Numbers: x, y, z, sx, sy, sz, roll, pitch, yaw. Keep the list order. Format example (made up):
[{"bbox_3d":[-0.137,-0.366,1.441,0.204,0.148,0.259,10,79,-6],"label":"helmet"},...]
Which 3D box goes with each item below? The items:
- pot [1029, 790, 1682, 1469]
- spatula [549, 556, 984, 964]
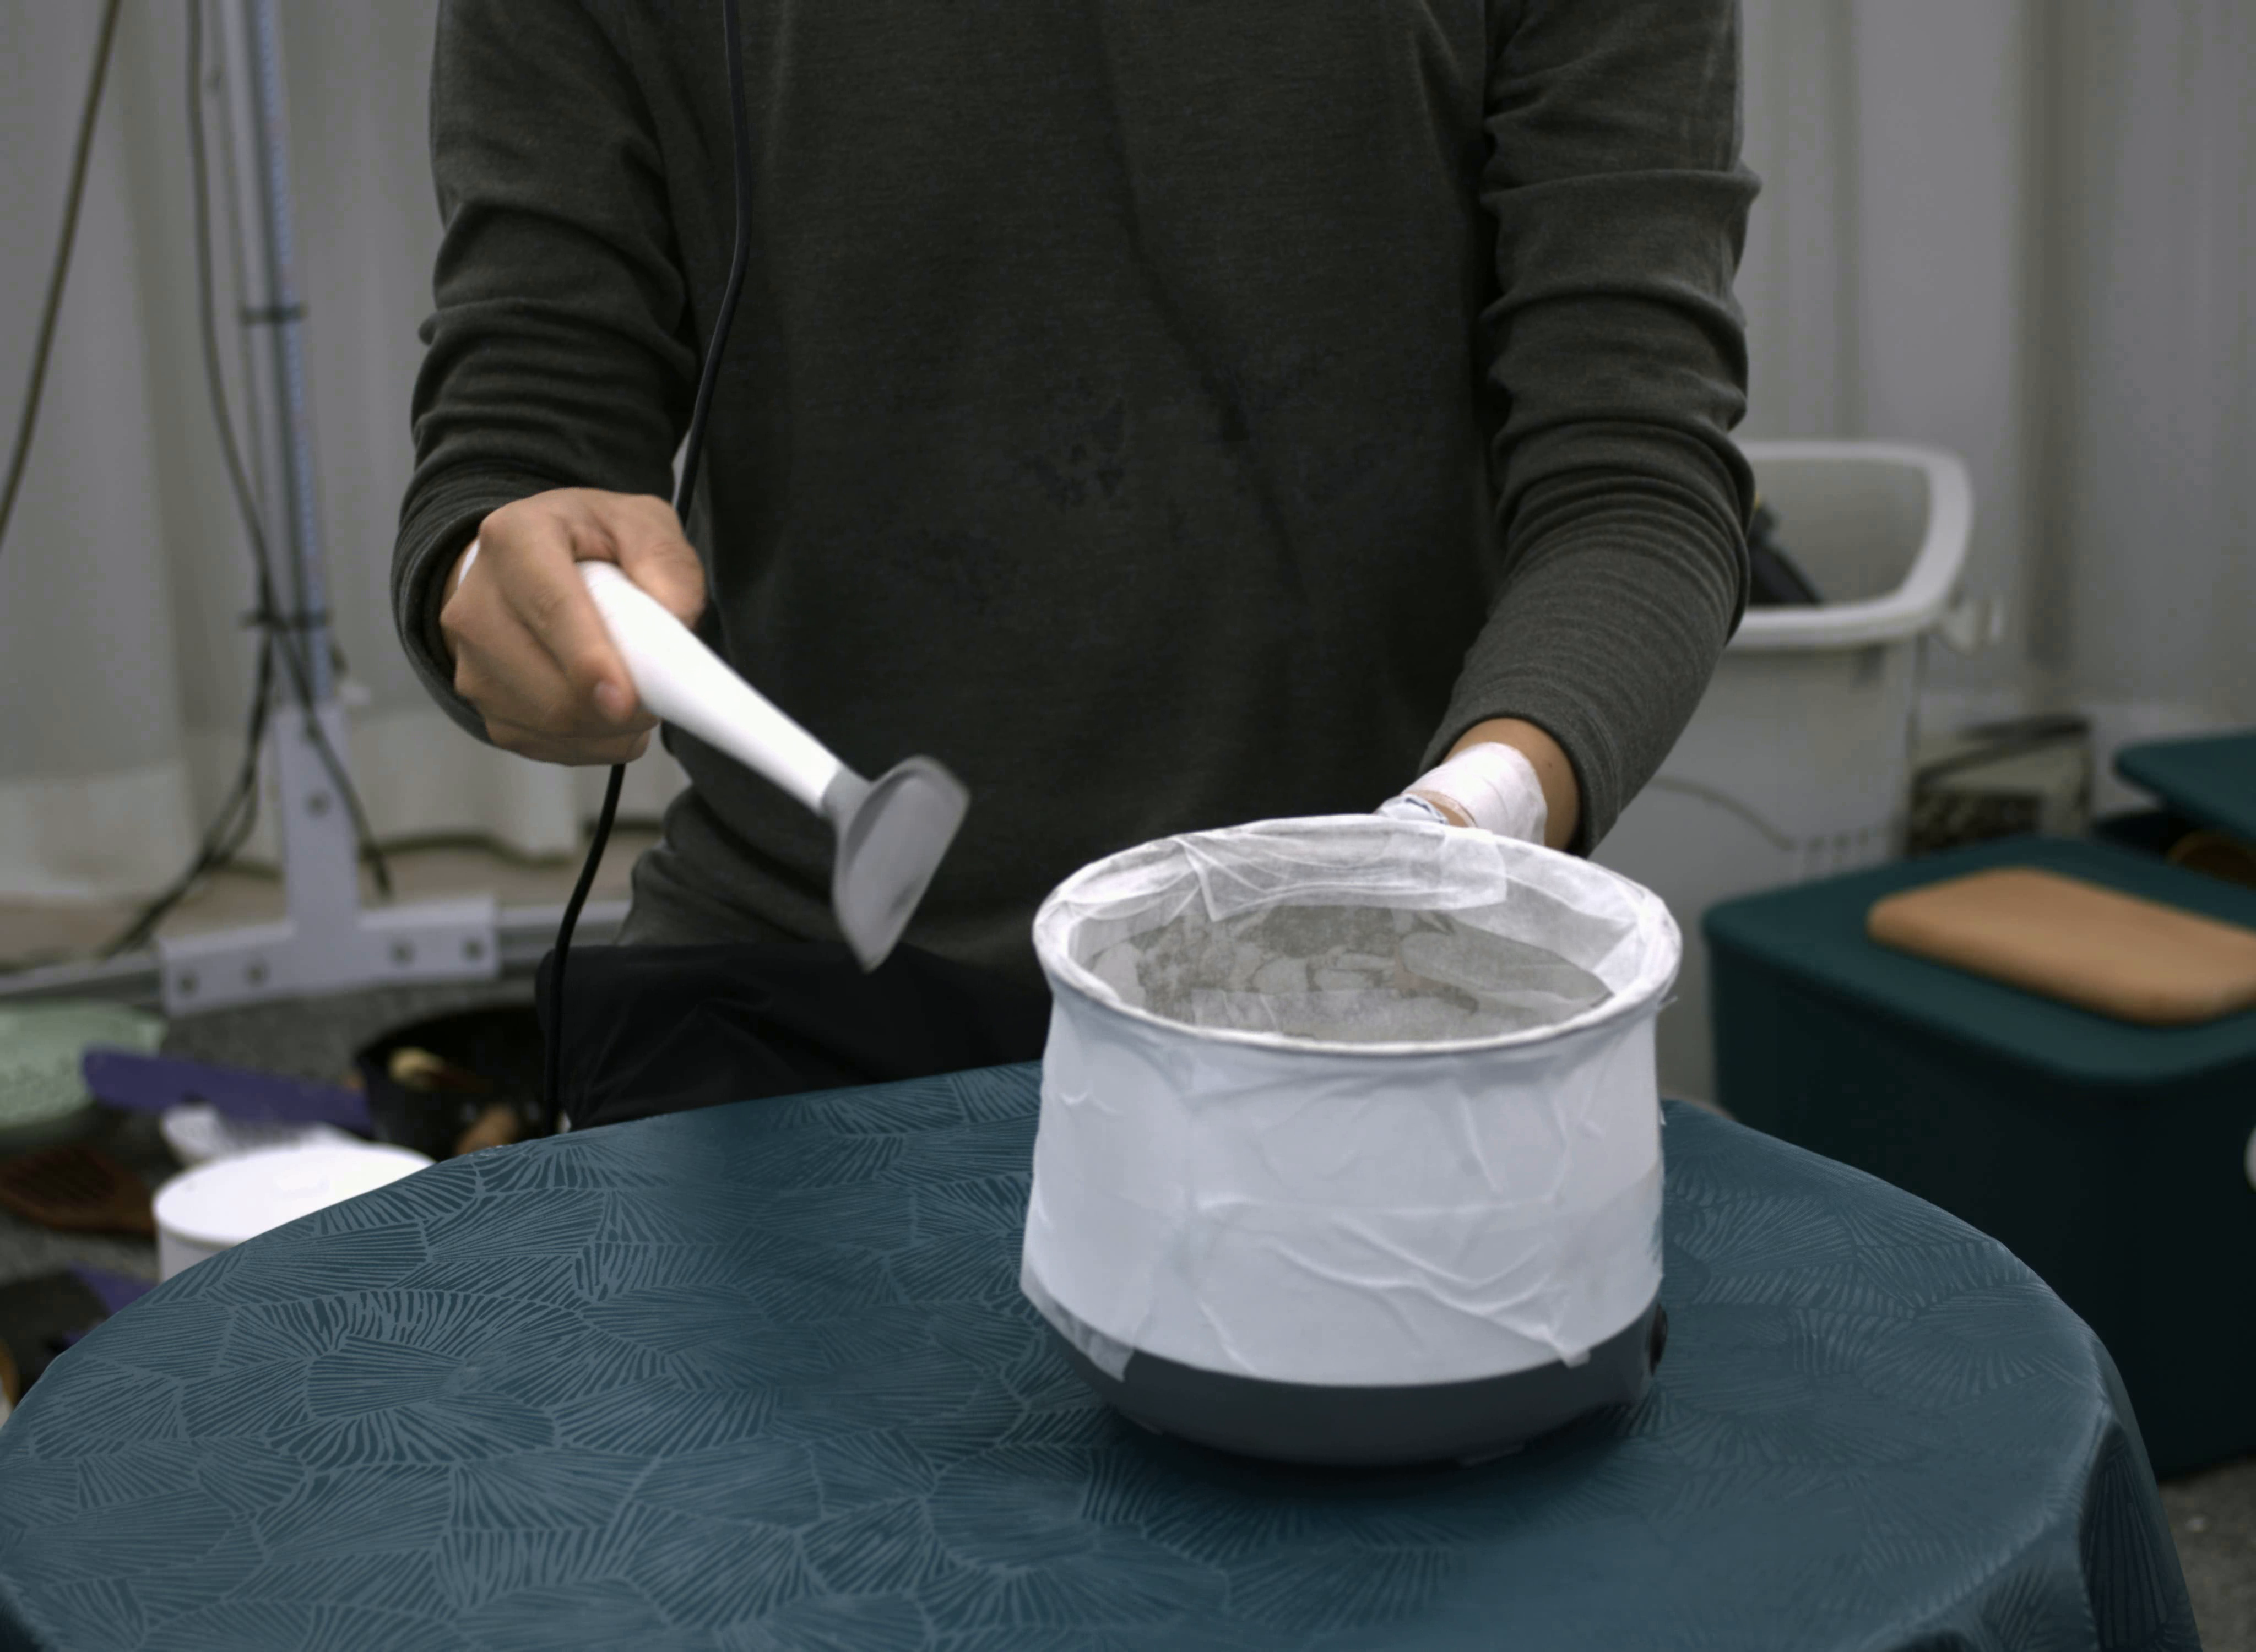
[{"bbox_3d":[0.066,0.078,1.533,0.178,0.136,0.235,5,20,9],"label":"pot"},{"bbox_3d":[-0.100,-0.025,1.533,0.032,0.059,0.290,32,2,-30],"label":"spatula"}]
